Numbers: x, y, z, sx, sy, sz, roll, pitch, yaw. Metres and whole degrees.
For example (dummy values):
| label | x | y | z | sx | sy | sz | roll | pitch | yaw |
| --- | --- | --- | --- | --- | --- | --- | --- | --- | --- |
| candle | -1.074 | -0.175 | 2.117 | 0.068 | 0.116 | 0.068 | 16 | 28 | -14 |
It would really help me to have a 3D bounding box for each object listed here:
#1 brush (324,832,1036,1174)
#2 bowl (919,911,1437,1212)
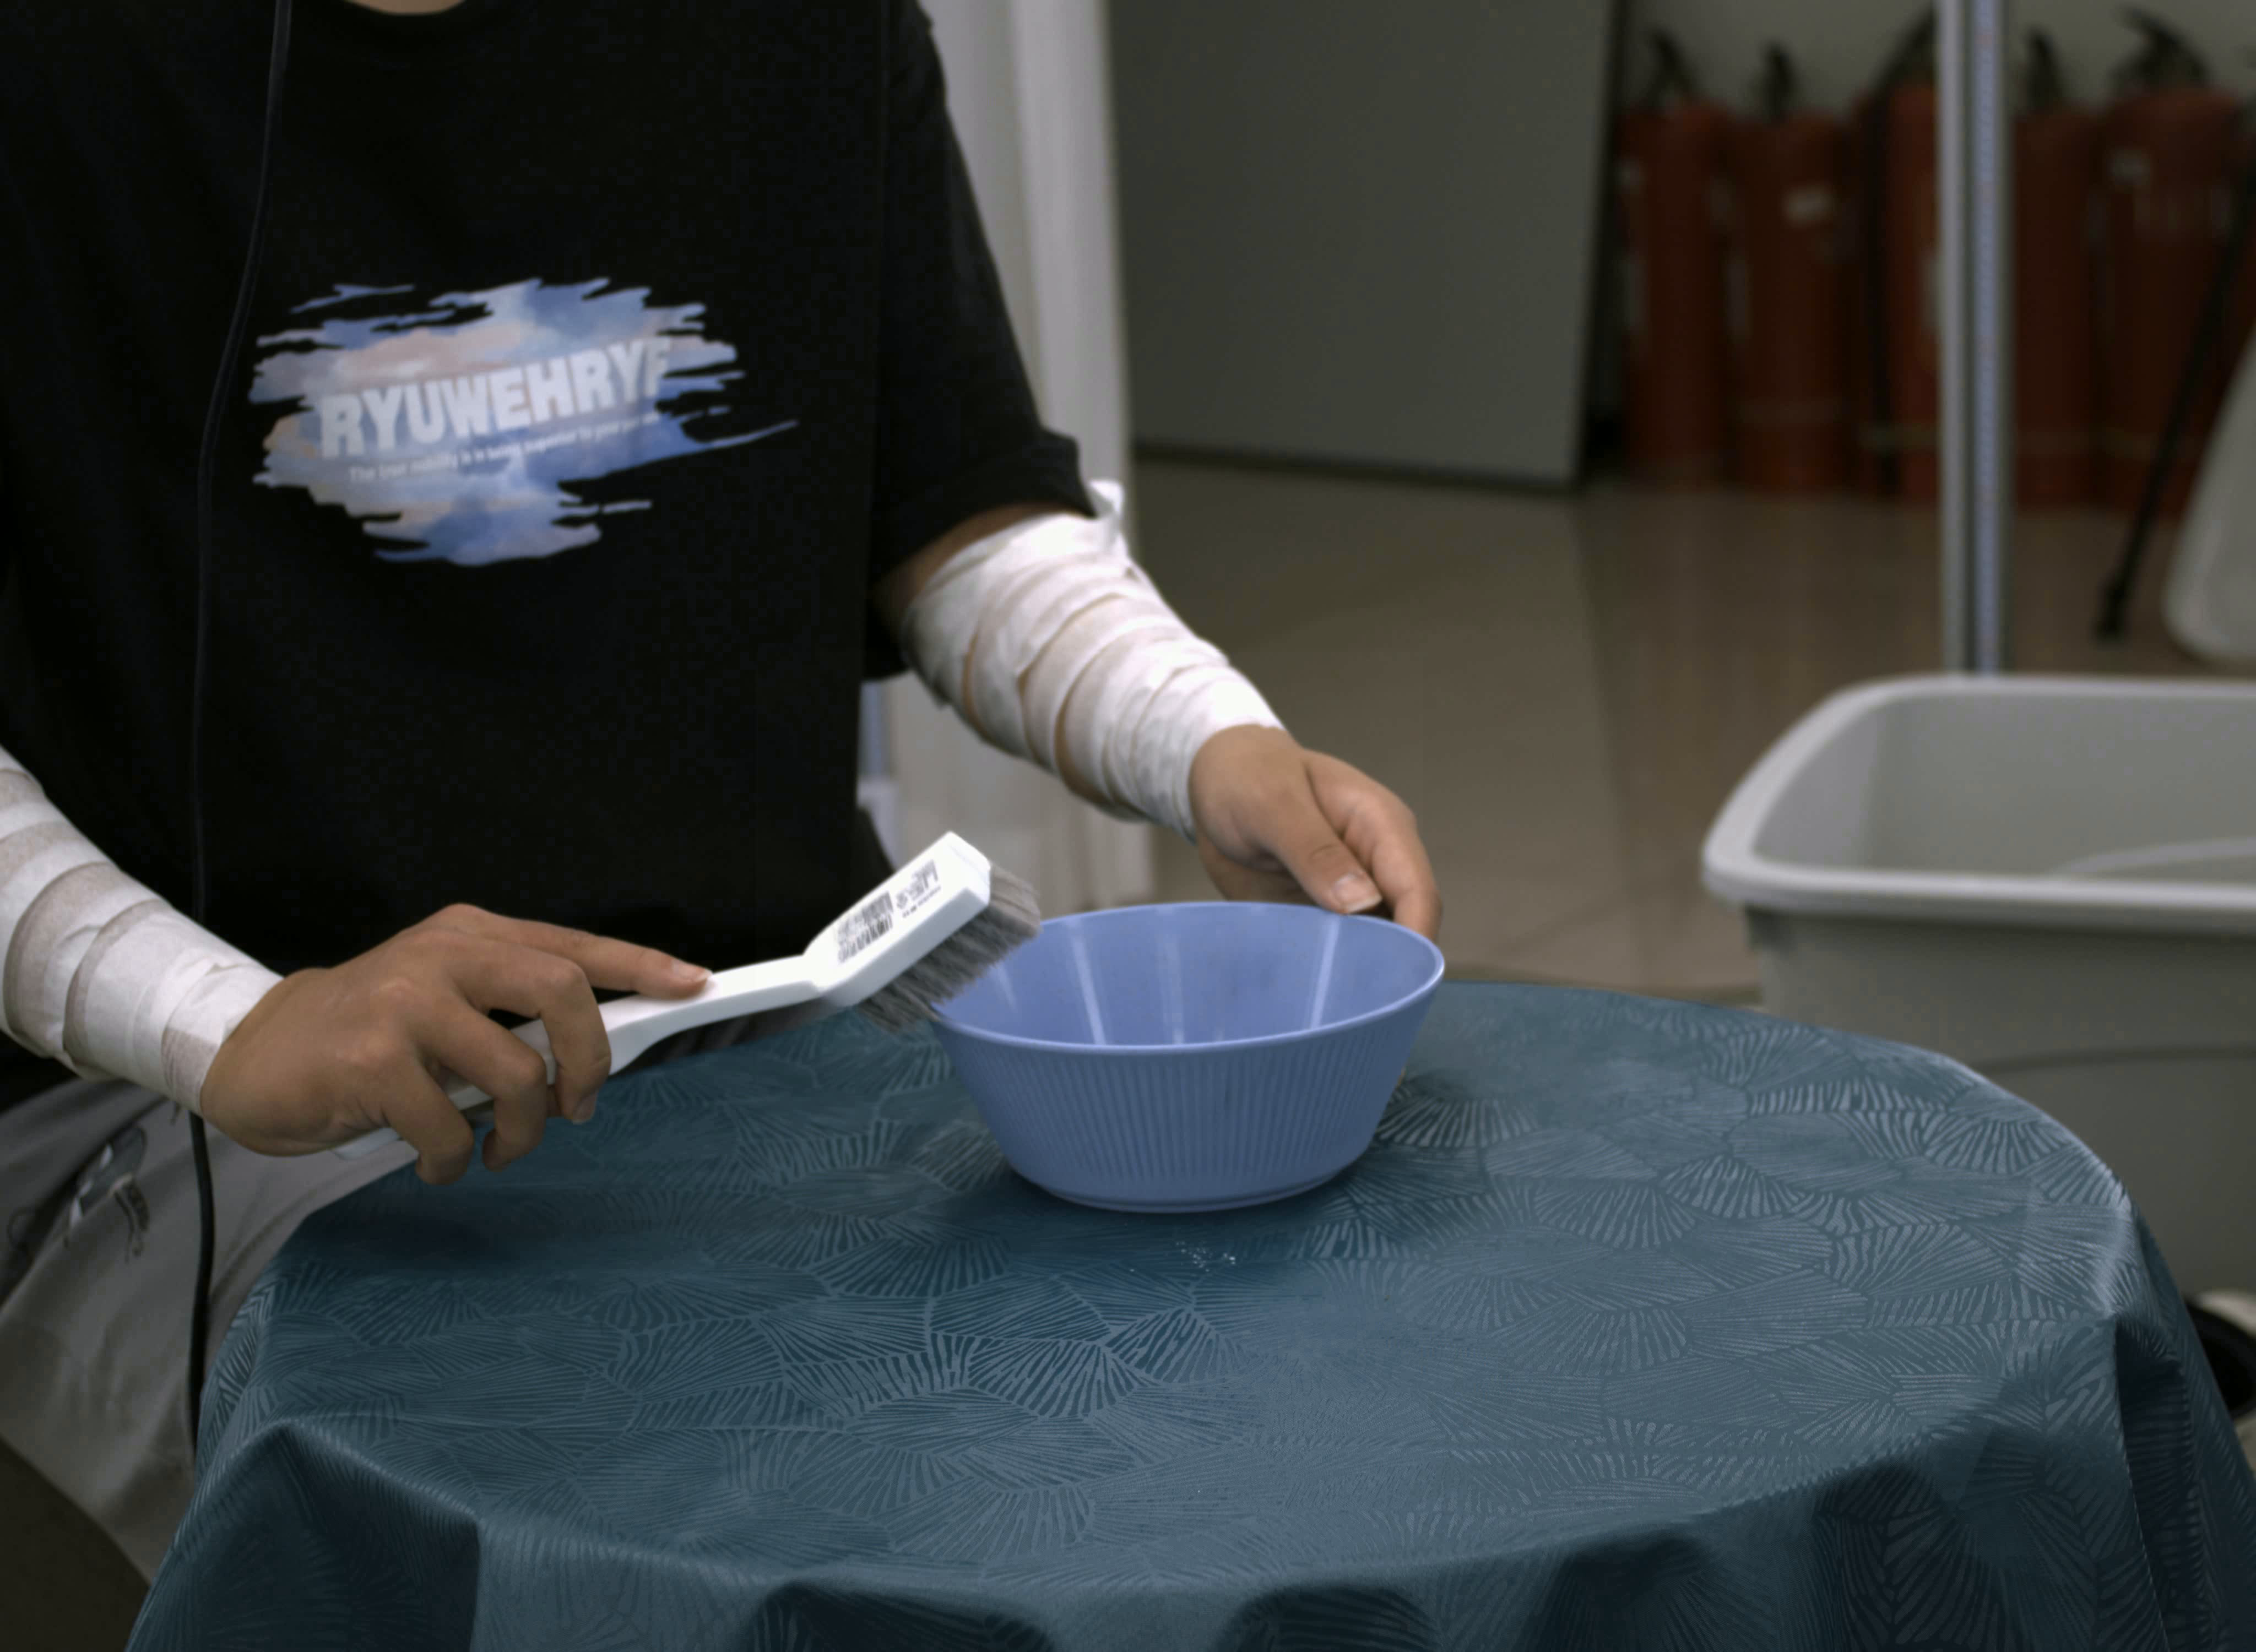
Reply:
| label | x | y | z | sx | sy | sz | roll | pitch | yaw |
| --- | --- | --- | --- | --- | --- | --- | --- | --- | --- |
| brush | -0.143 | 0.071 | 1.754 | 0.242 | 0.050 | 0.035 | -25 | 35 | 4 |
| bowl | 0.017 | 0.080 | 1.788 | 0.174 | 0.071 | 0.176 | -4 | 13 | 0 |
